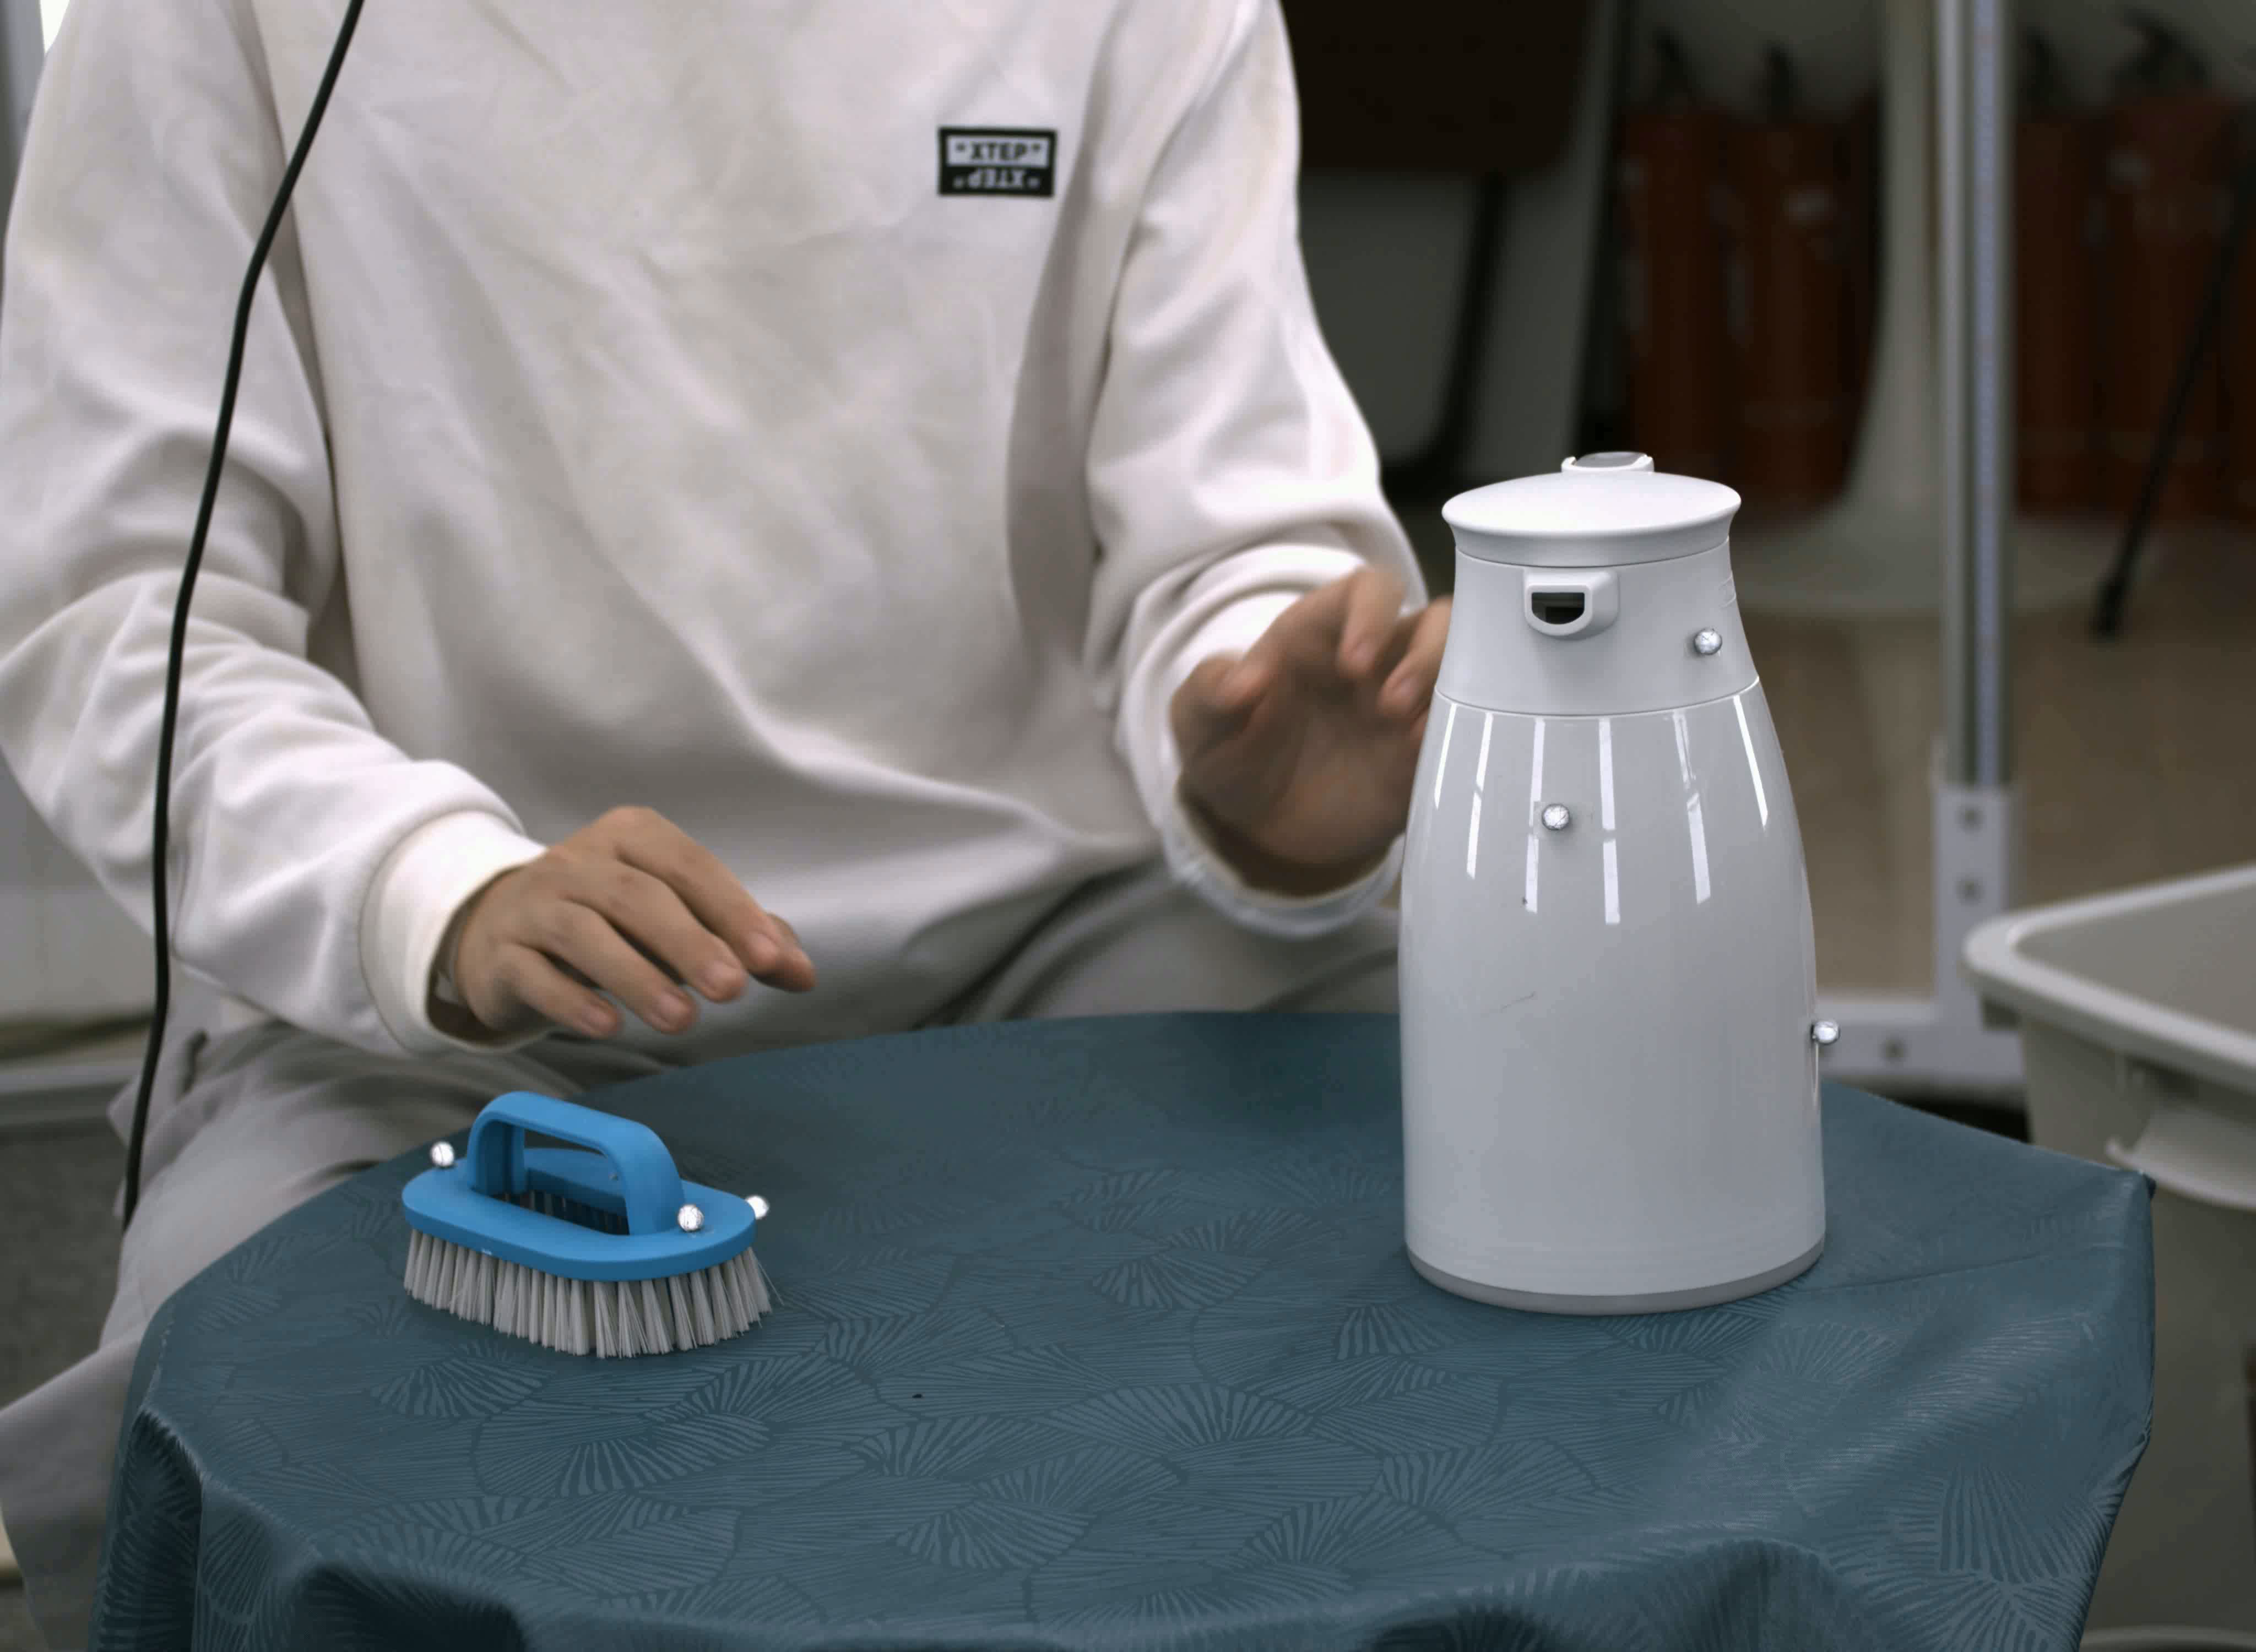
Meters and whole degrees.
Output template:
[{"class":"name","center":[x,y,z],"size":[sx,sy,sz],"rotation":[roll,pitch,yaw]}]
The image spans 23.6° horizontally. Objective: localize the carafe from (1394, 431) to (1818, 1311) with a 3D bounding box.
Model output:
[{"class":"carafe","center":[0.148,0.006,1.675],"size":[0.132,0.251,0.166],"rotation":[0,12,14]}]

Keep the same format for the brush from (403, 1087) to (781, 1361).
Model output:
[{"class":"brush","center":[-0.172,0.118,1.697],"size":[0.082,0.064,0.143],"rotation":[-19,19,-37]}]
